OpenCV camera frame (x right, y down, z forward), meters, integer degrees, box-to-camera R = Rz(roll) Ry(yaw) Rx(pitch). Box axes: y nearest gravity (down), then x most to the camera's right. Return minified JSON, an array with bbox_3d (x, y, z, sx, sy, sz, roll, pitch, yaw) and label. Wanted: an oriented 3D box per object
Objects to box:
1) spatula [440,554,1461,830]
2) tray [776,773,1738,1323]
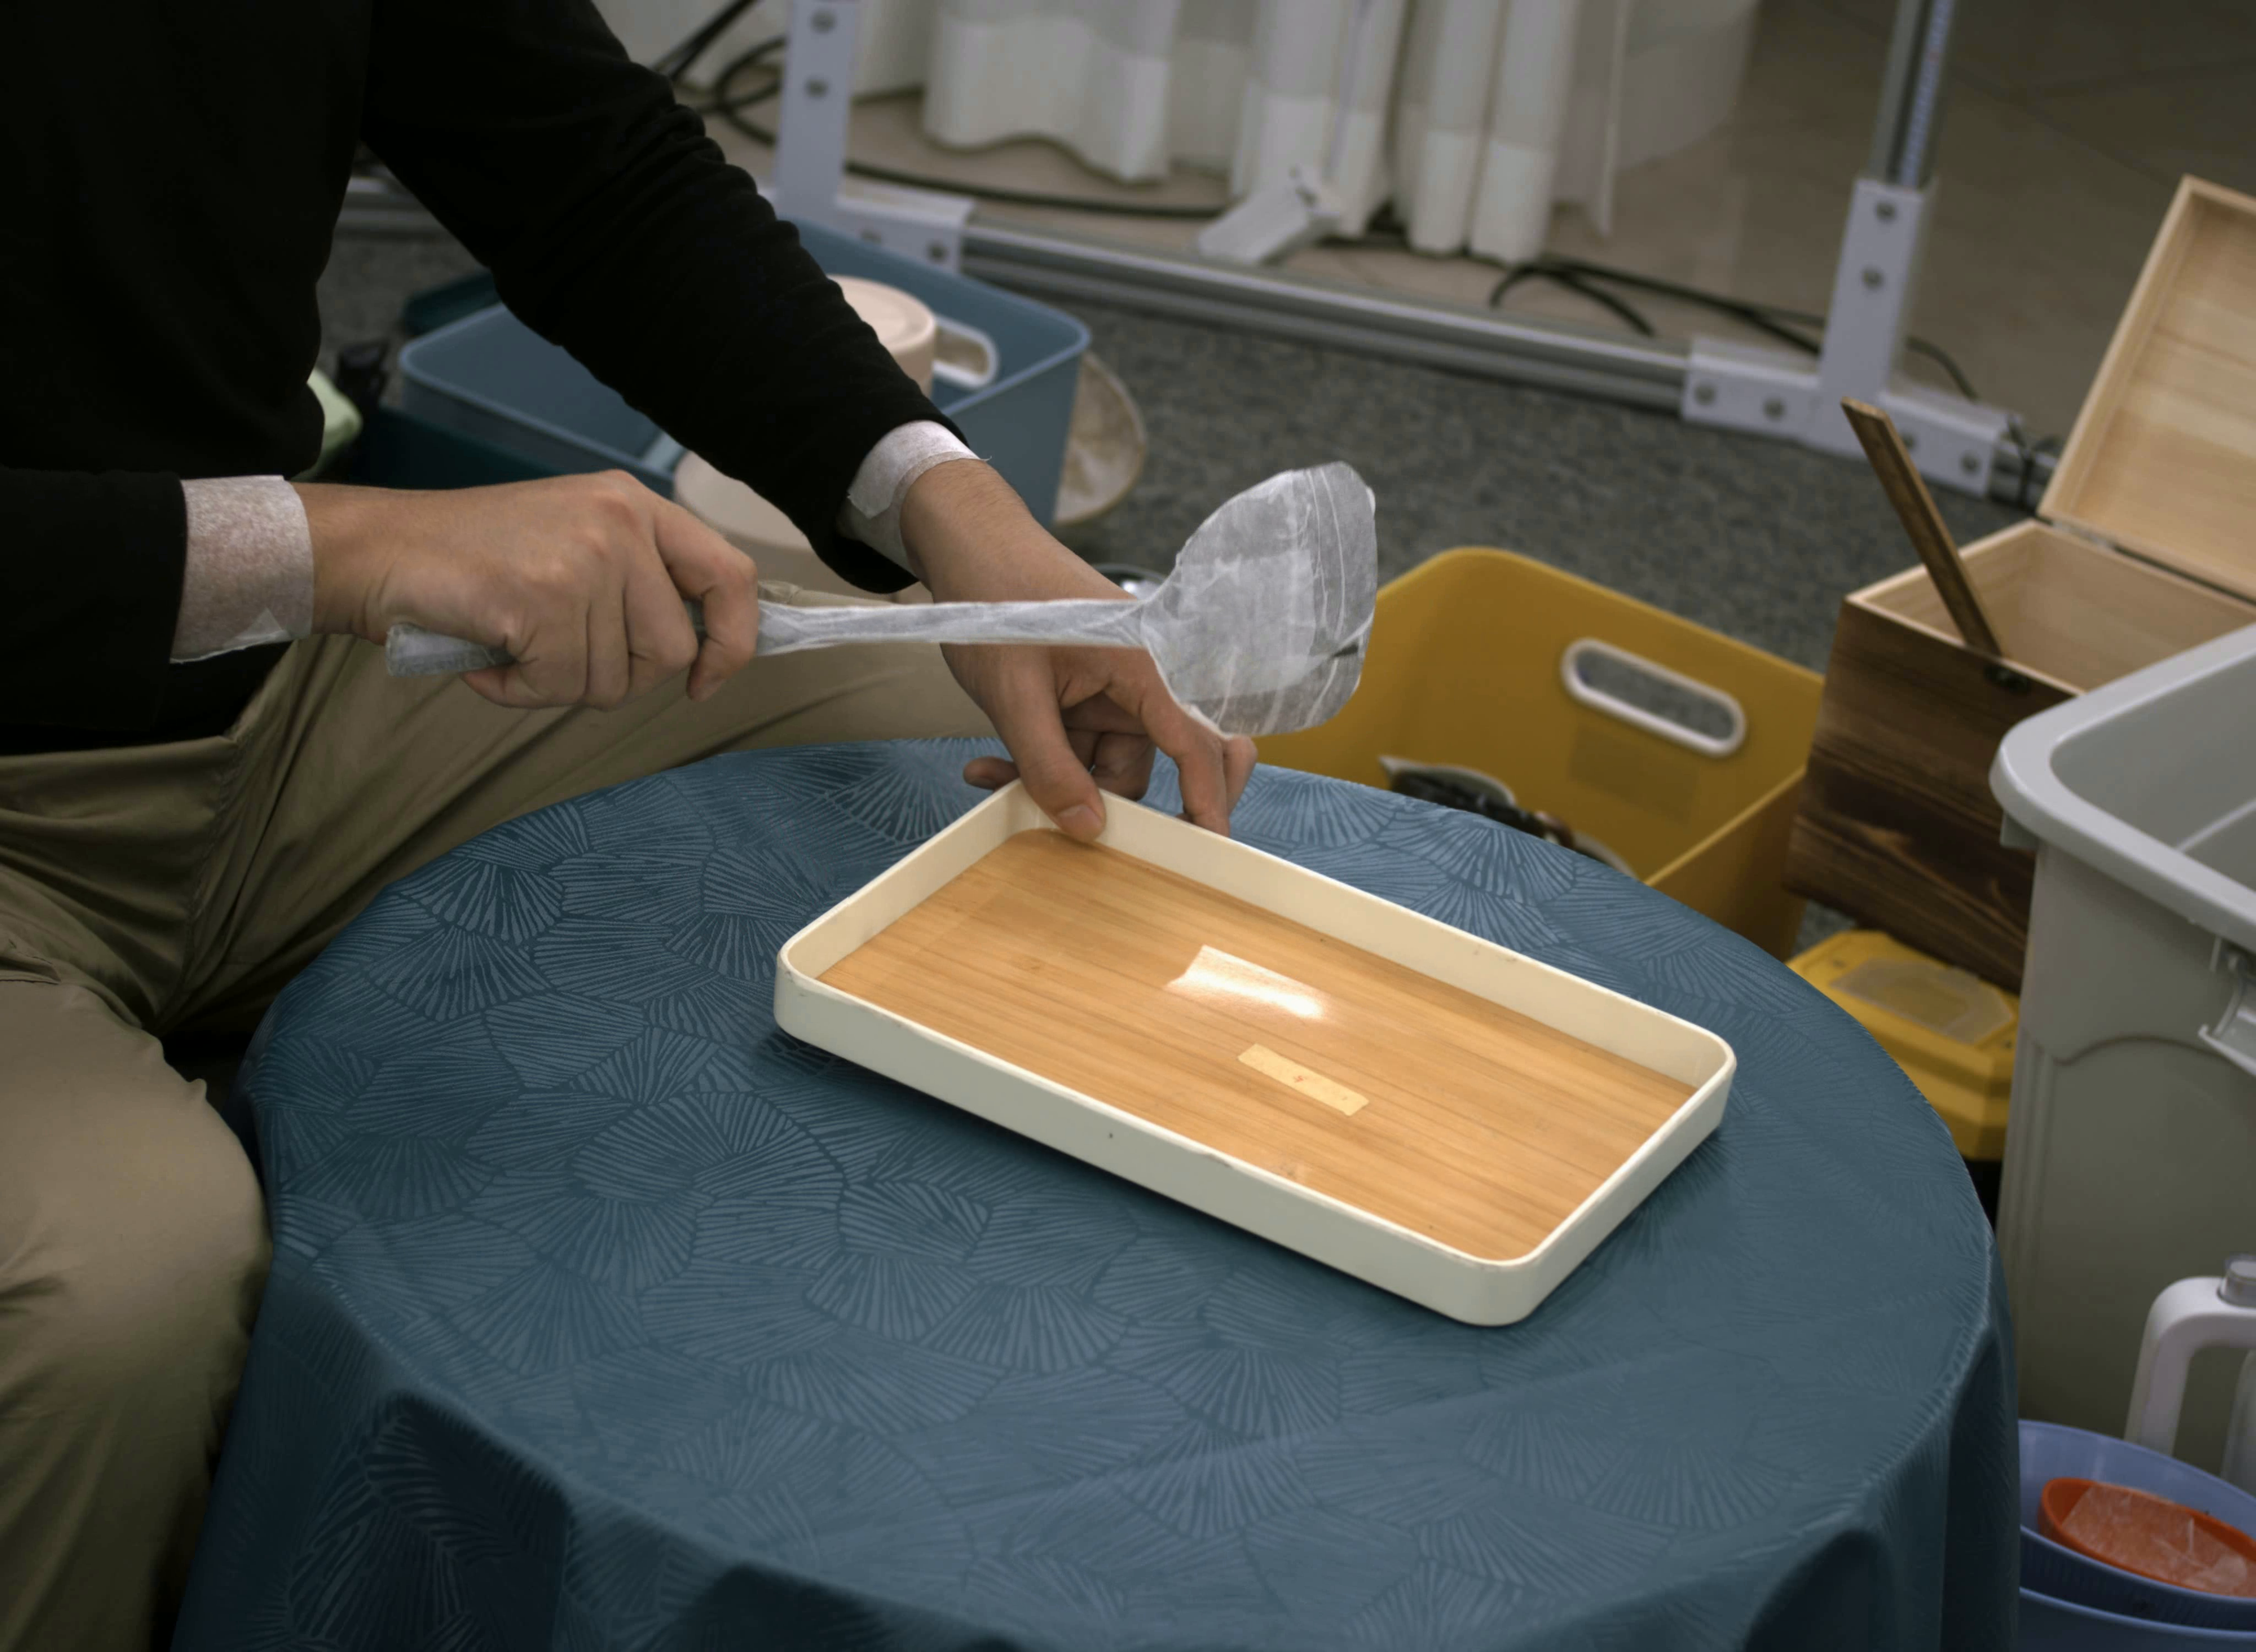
[{"bbox_3d":[-0.055,-0.046,1.809,0.363,0.098,0.045,1,15,-14],"label":"spatula"},{"bbox_3d":[0.045,0.073,1.867,0.302,0.027,0.191,22,32,24],"label":"tray"}]
